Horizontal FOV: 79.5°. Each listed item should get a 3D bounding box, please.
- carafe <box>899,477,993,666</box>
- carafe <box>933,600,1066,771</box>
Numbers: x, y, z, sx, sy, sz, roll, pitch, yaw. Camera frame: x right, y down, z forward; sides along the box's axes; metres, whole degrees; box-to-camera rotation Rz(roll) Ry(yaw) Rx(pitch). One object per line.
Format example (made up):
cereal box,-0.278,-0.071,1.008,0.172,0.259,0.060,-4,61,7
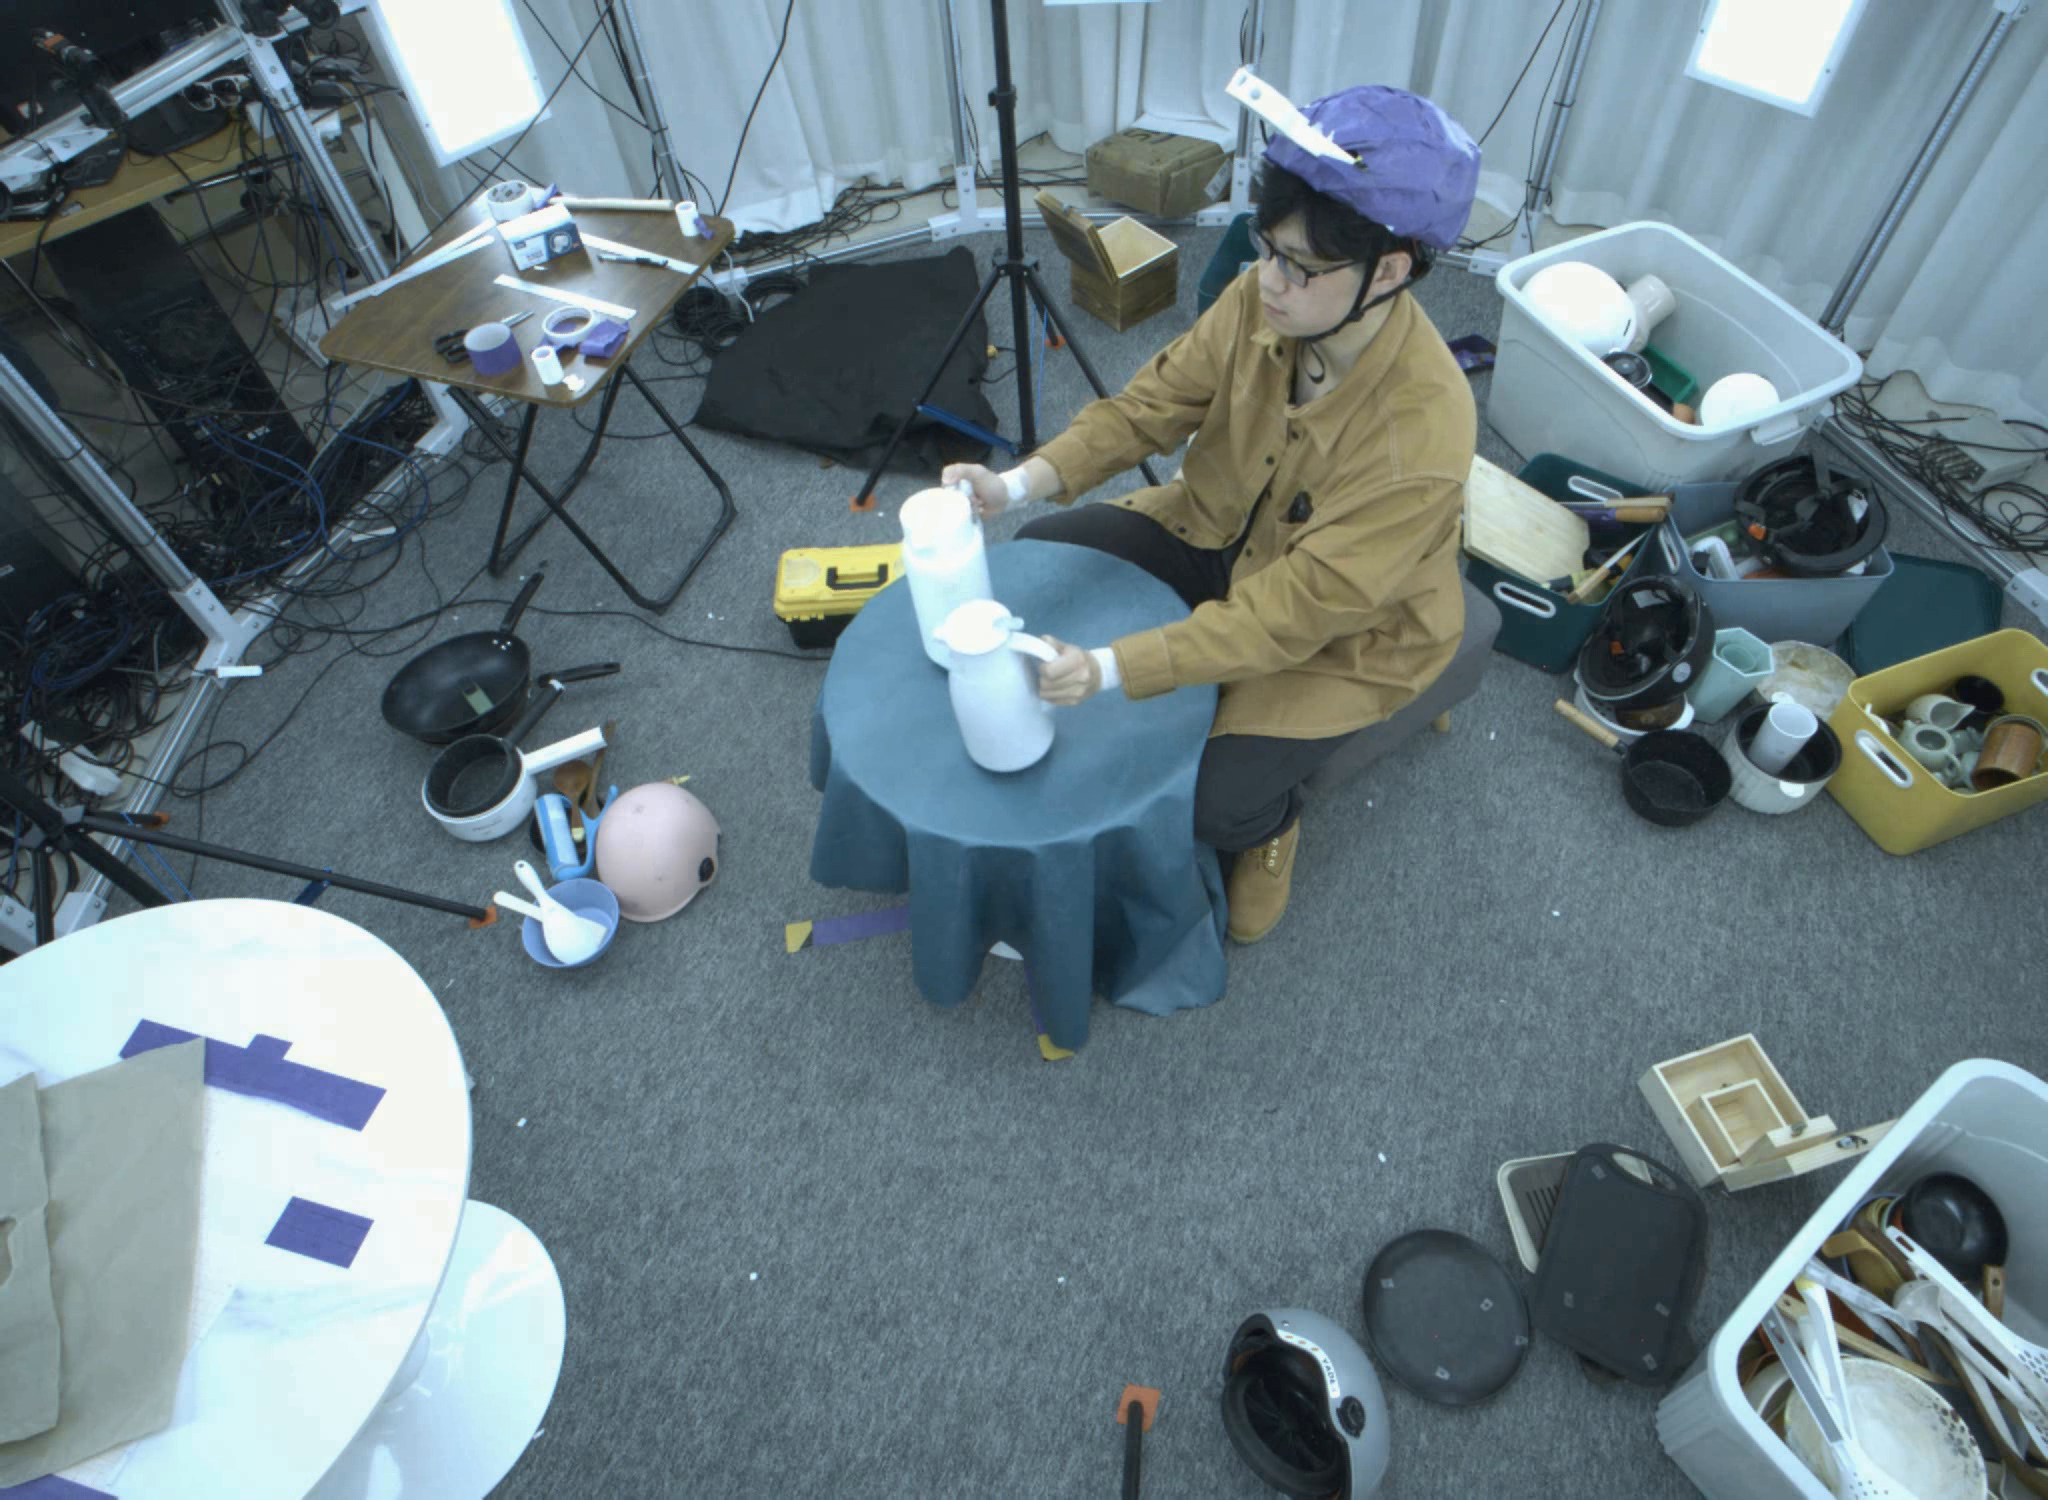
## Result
carafe,-0.106,-0.262,1.783,0.122,0.272,0.172,10,54,17
carafe,-0.023,-0.094,1.667,0.166,0.252,0.131,3,57,12
